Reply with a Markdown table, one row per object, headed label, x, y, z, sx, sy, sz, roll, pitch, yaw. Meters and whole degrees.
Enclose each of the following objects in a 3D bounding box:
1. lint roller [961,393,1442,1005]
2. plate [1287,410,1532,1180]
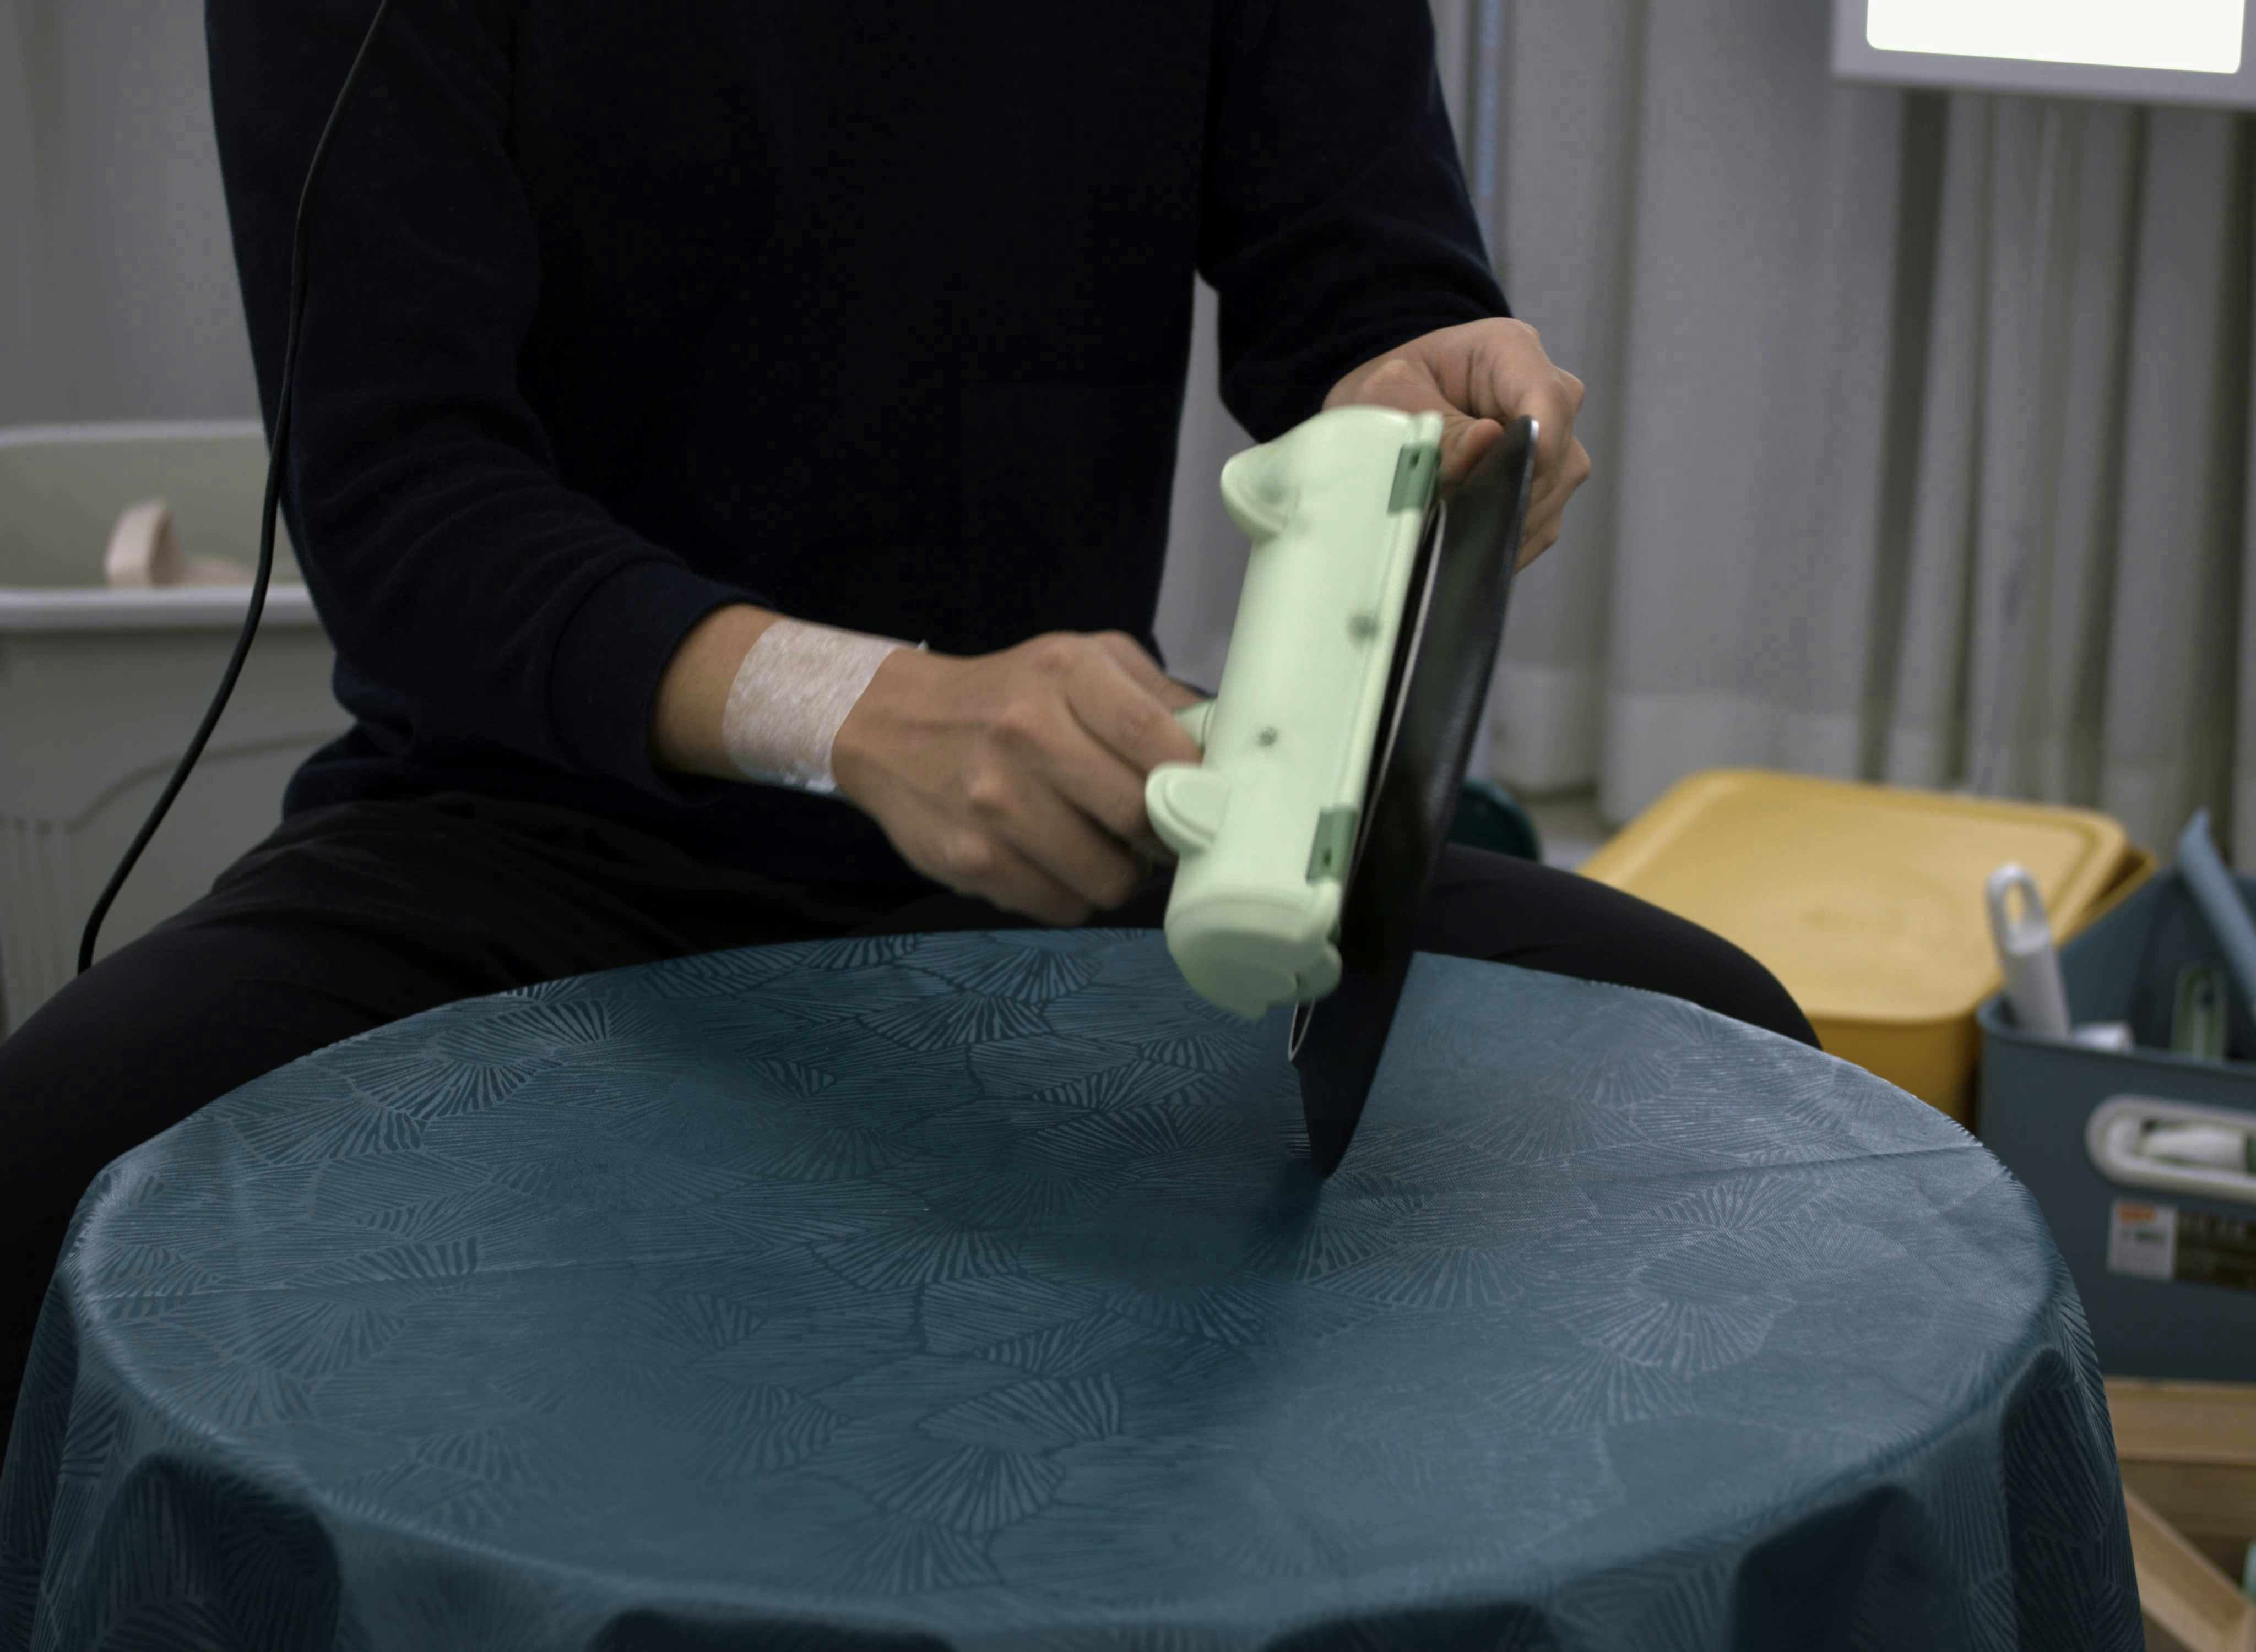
| label | x | y | z | sx | sy | sz | roll | pitch | yaw |
| --- | --- | --- | --- | --- | --- | --- | --- | --- | --- |
| lint roller | 0.005 | -0.034 | 1.594 | 0.182 | 0.083 | 0.197 | -13 | 48 | 34 |
| plate | 0.082 | -0.012 | 1.618 | 0.023 | 0.246 | 0.243 | 15 | 17 | 0 |
